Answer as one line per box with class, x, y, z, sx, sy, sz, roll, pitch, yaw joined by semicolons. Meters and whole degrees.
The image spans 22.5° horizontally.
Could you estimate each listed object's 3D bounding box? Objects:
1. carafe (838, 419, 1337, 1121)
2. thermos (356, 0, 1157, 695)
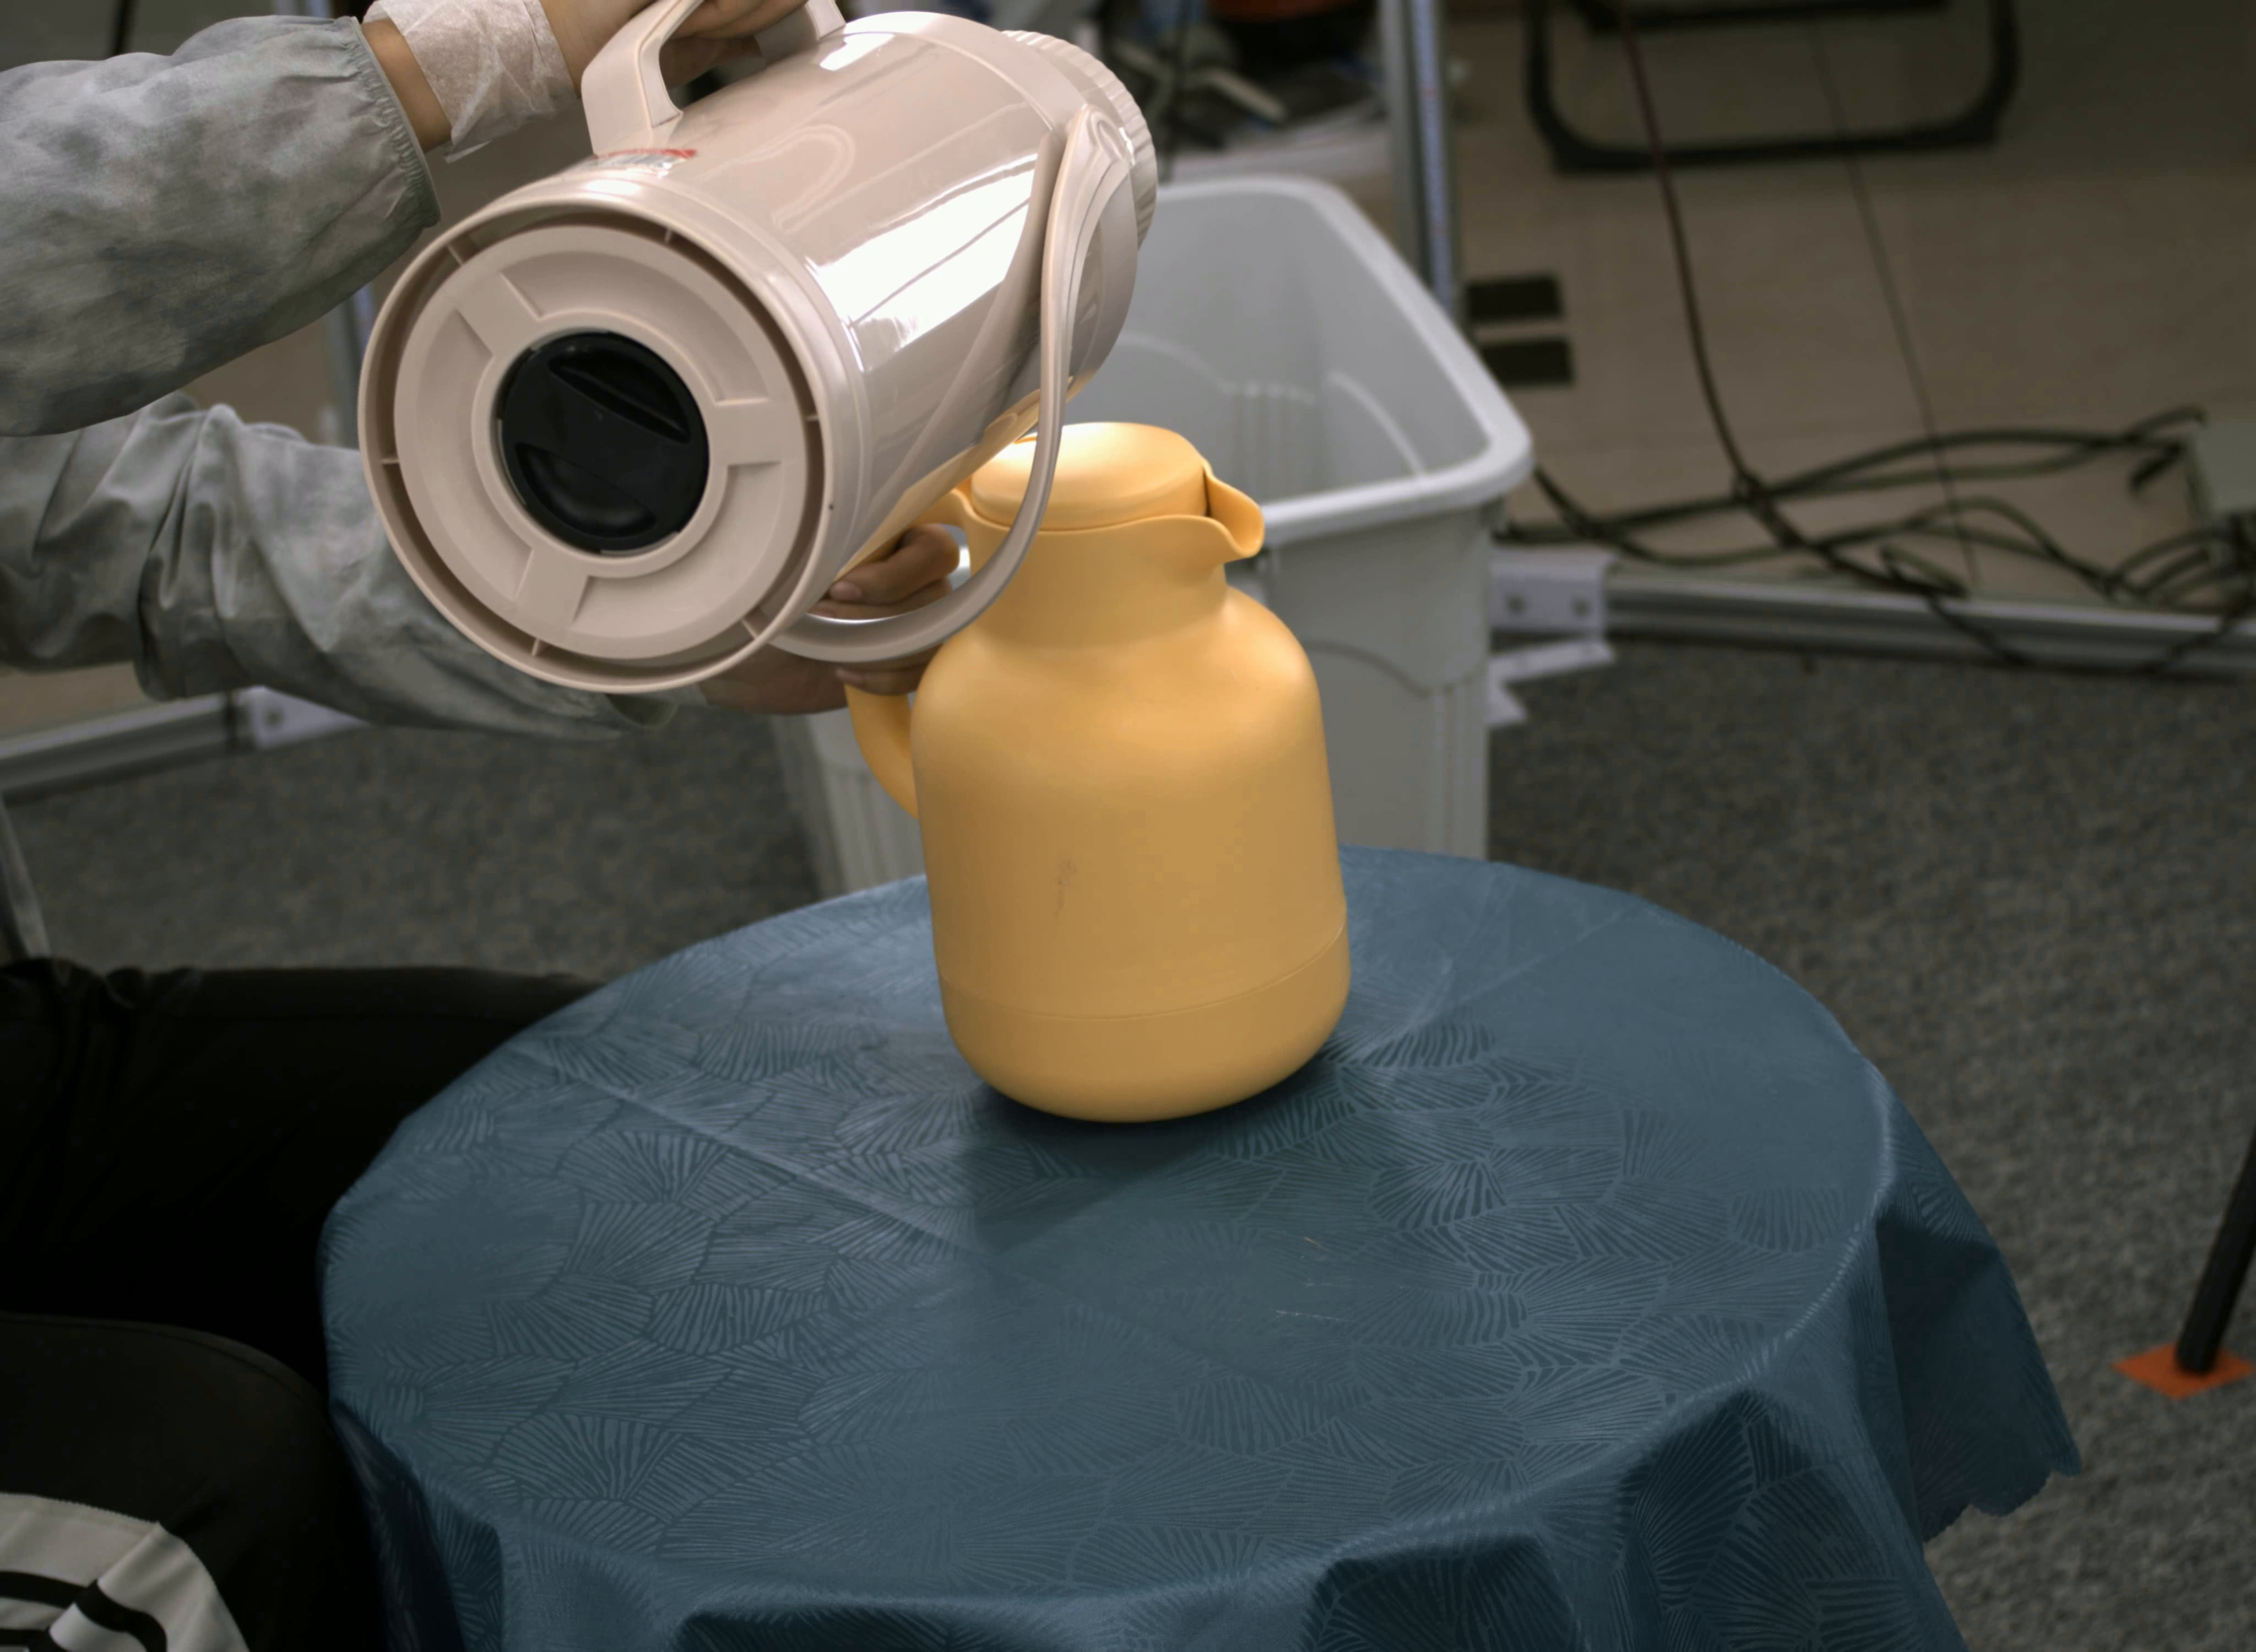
carafe;-0.020;-0.030;2.203;0.201;0.264;0.162;13;29;33
thermos;-0.111;-0.191;1.904;0.176;0.208;0.402;-23;10;27
